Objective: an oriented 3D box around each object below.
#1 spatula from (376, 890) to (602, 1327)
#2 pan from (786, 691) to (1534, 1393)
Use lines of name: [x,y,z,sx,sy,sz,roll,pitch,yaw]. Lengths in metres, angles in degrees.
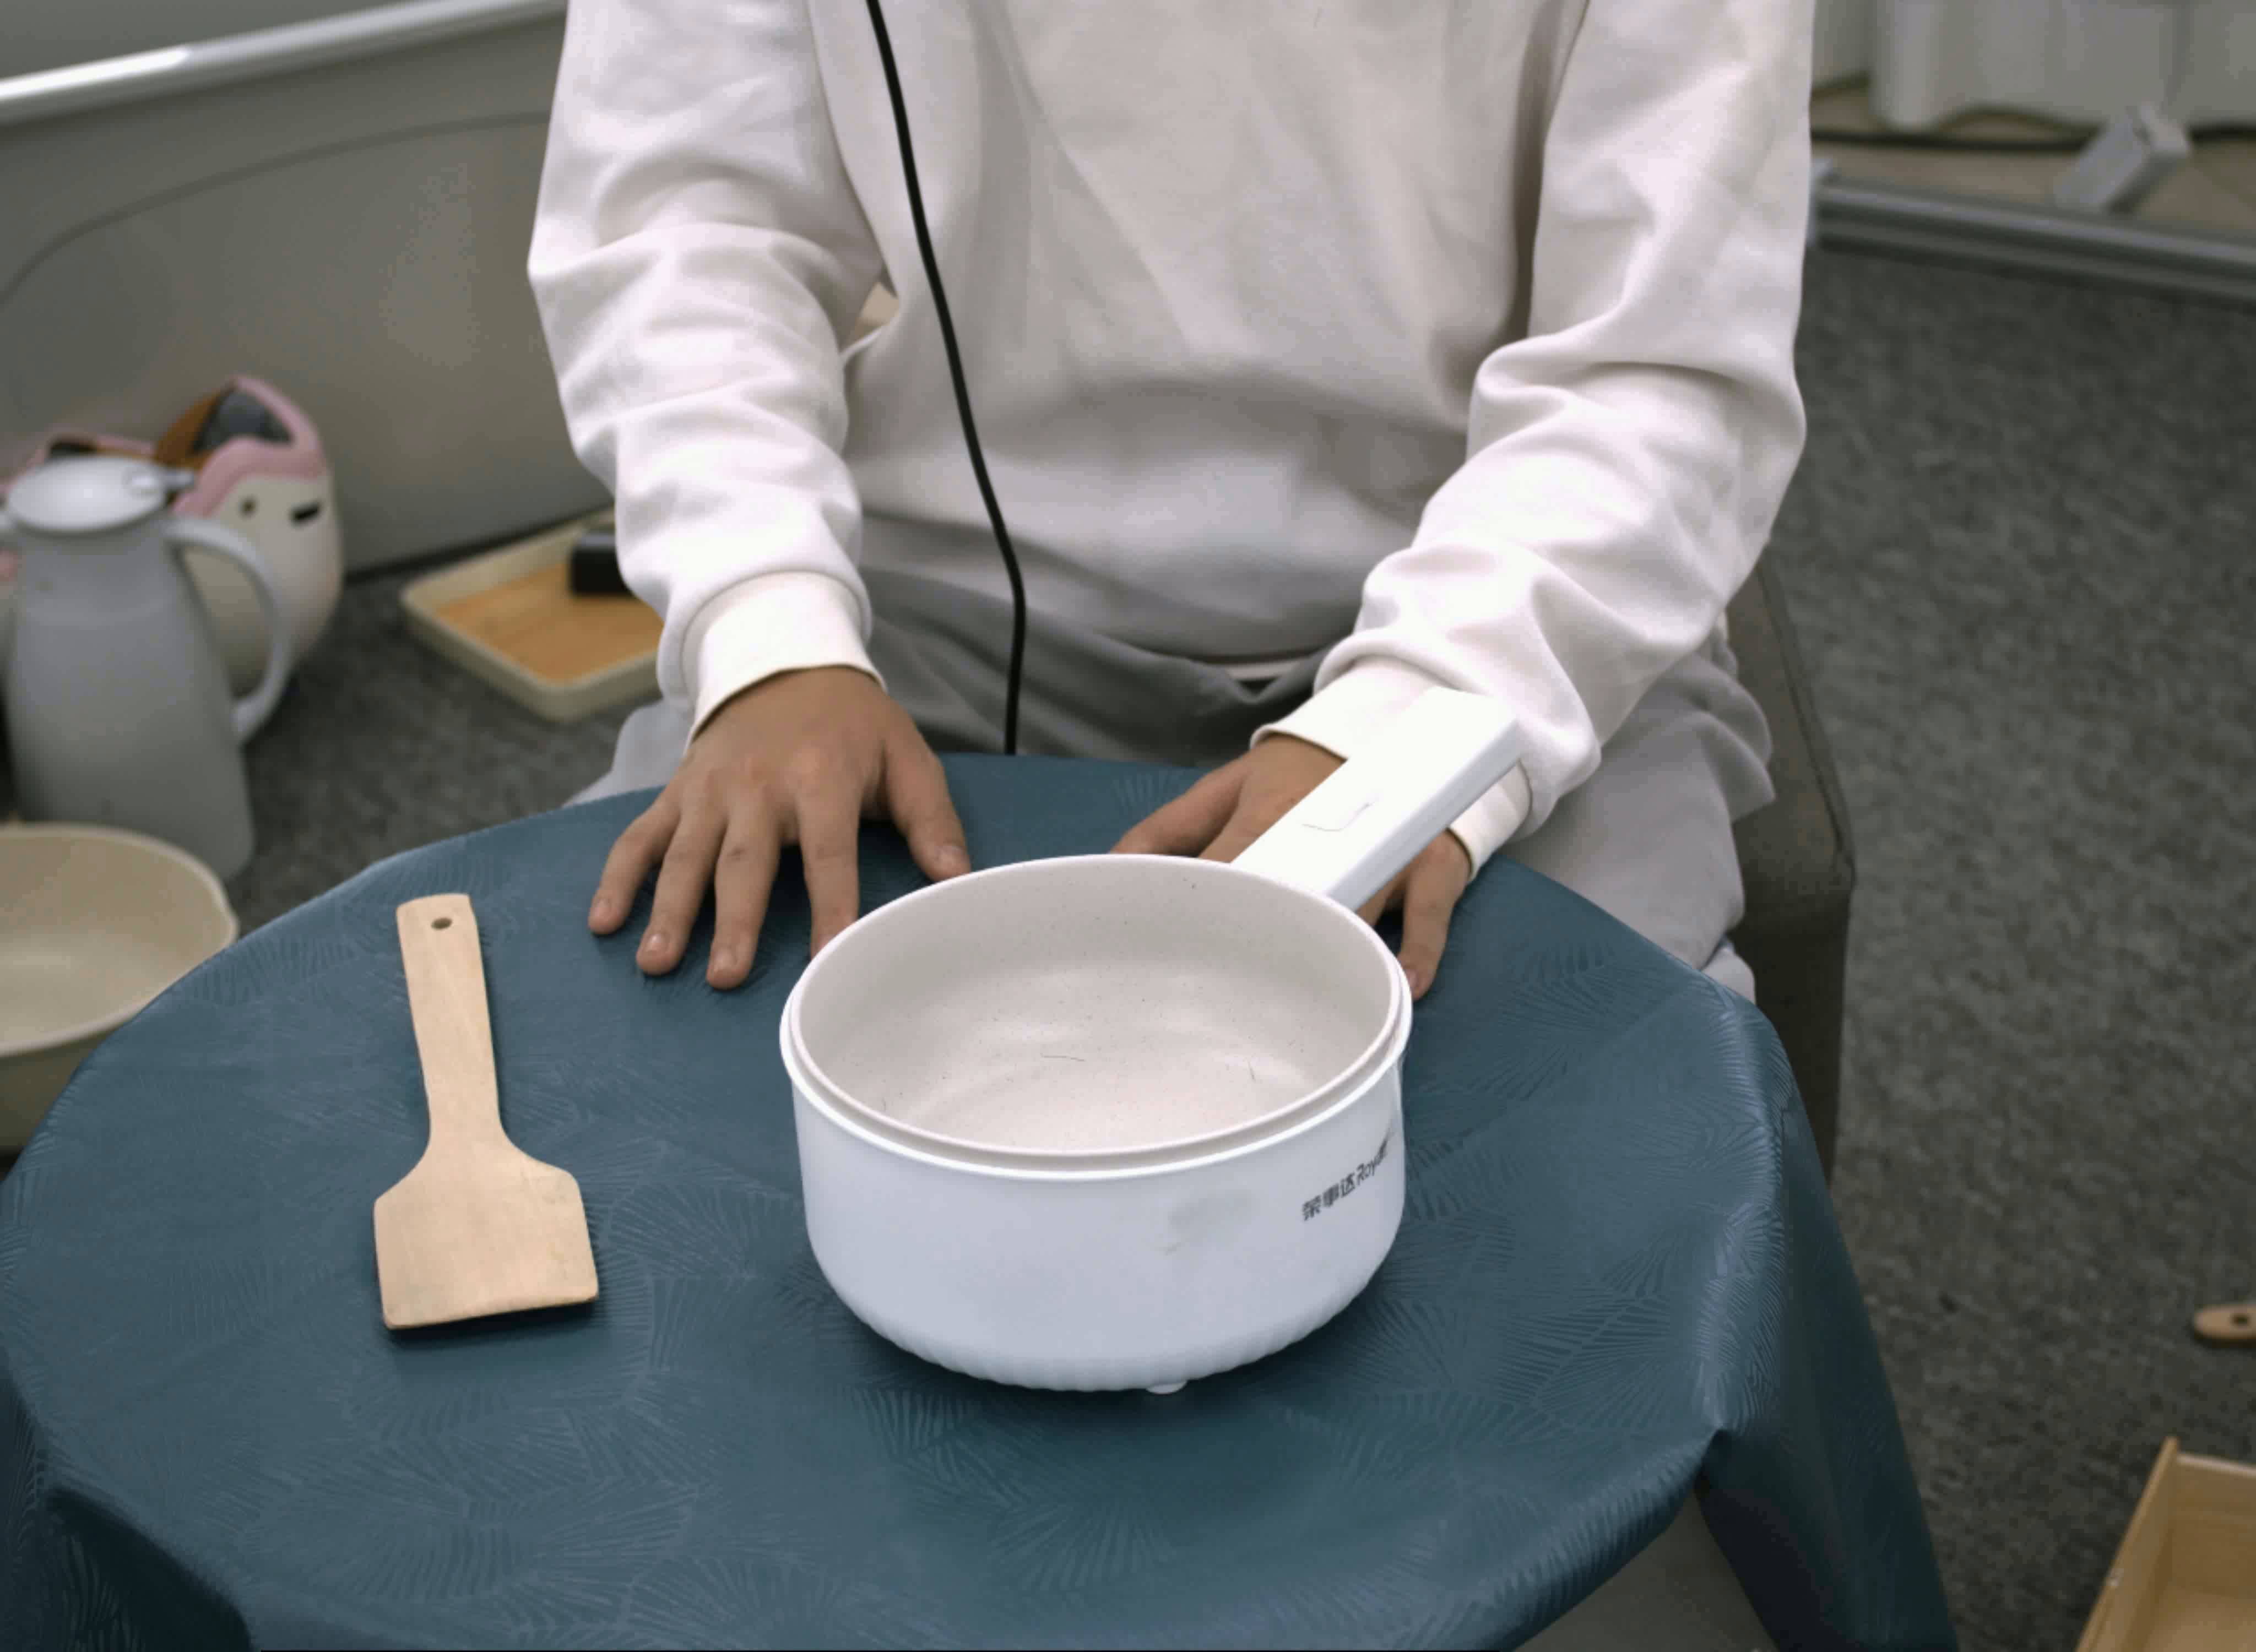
spatula: [-0.229,0.093,1.930,0.072,0.010,0.296,-8,28,-7]
pan: [0.033,0.067,1.861,0.200,0.101,0.360,13,30,29]
